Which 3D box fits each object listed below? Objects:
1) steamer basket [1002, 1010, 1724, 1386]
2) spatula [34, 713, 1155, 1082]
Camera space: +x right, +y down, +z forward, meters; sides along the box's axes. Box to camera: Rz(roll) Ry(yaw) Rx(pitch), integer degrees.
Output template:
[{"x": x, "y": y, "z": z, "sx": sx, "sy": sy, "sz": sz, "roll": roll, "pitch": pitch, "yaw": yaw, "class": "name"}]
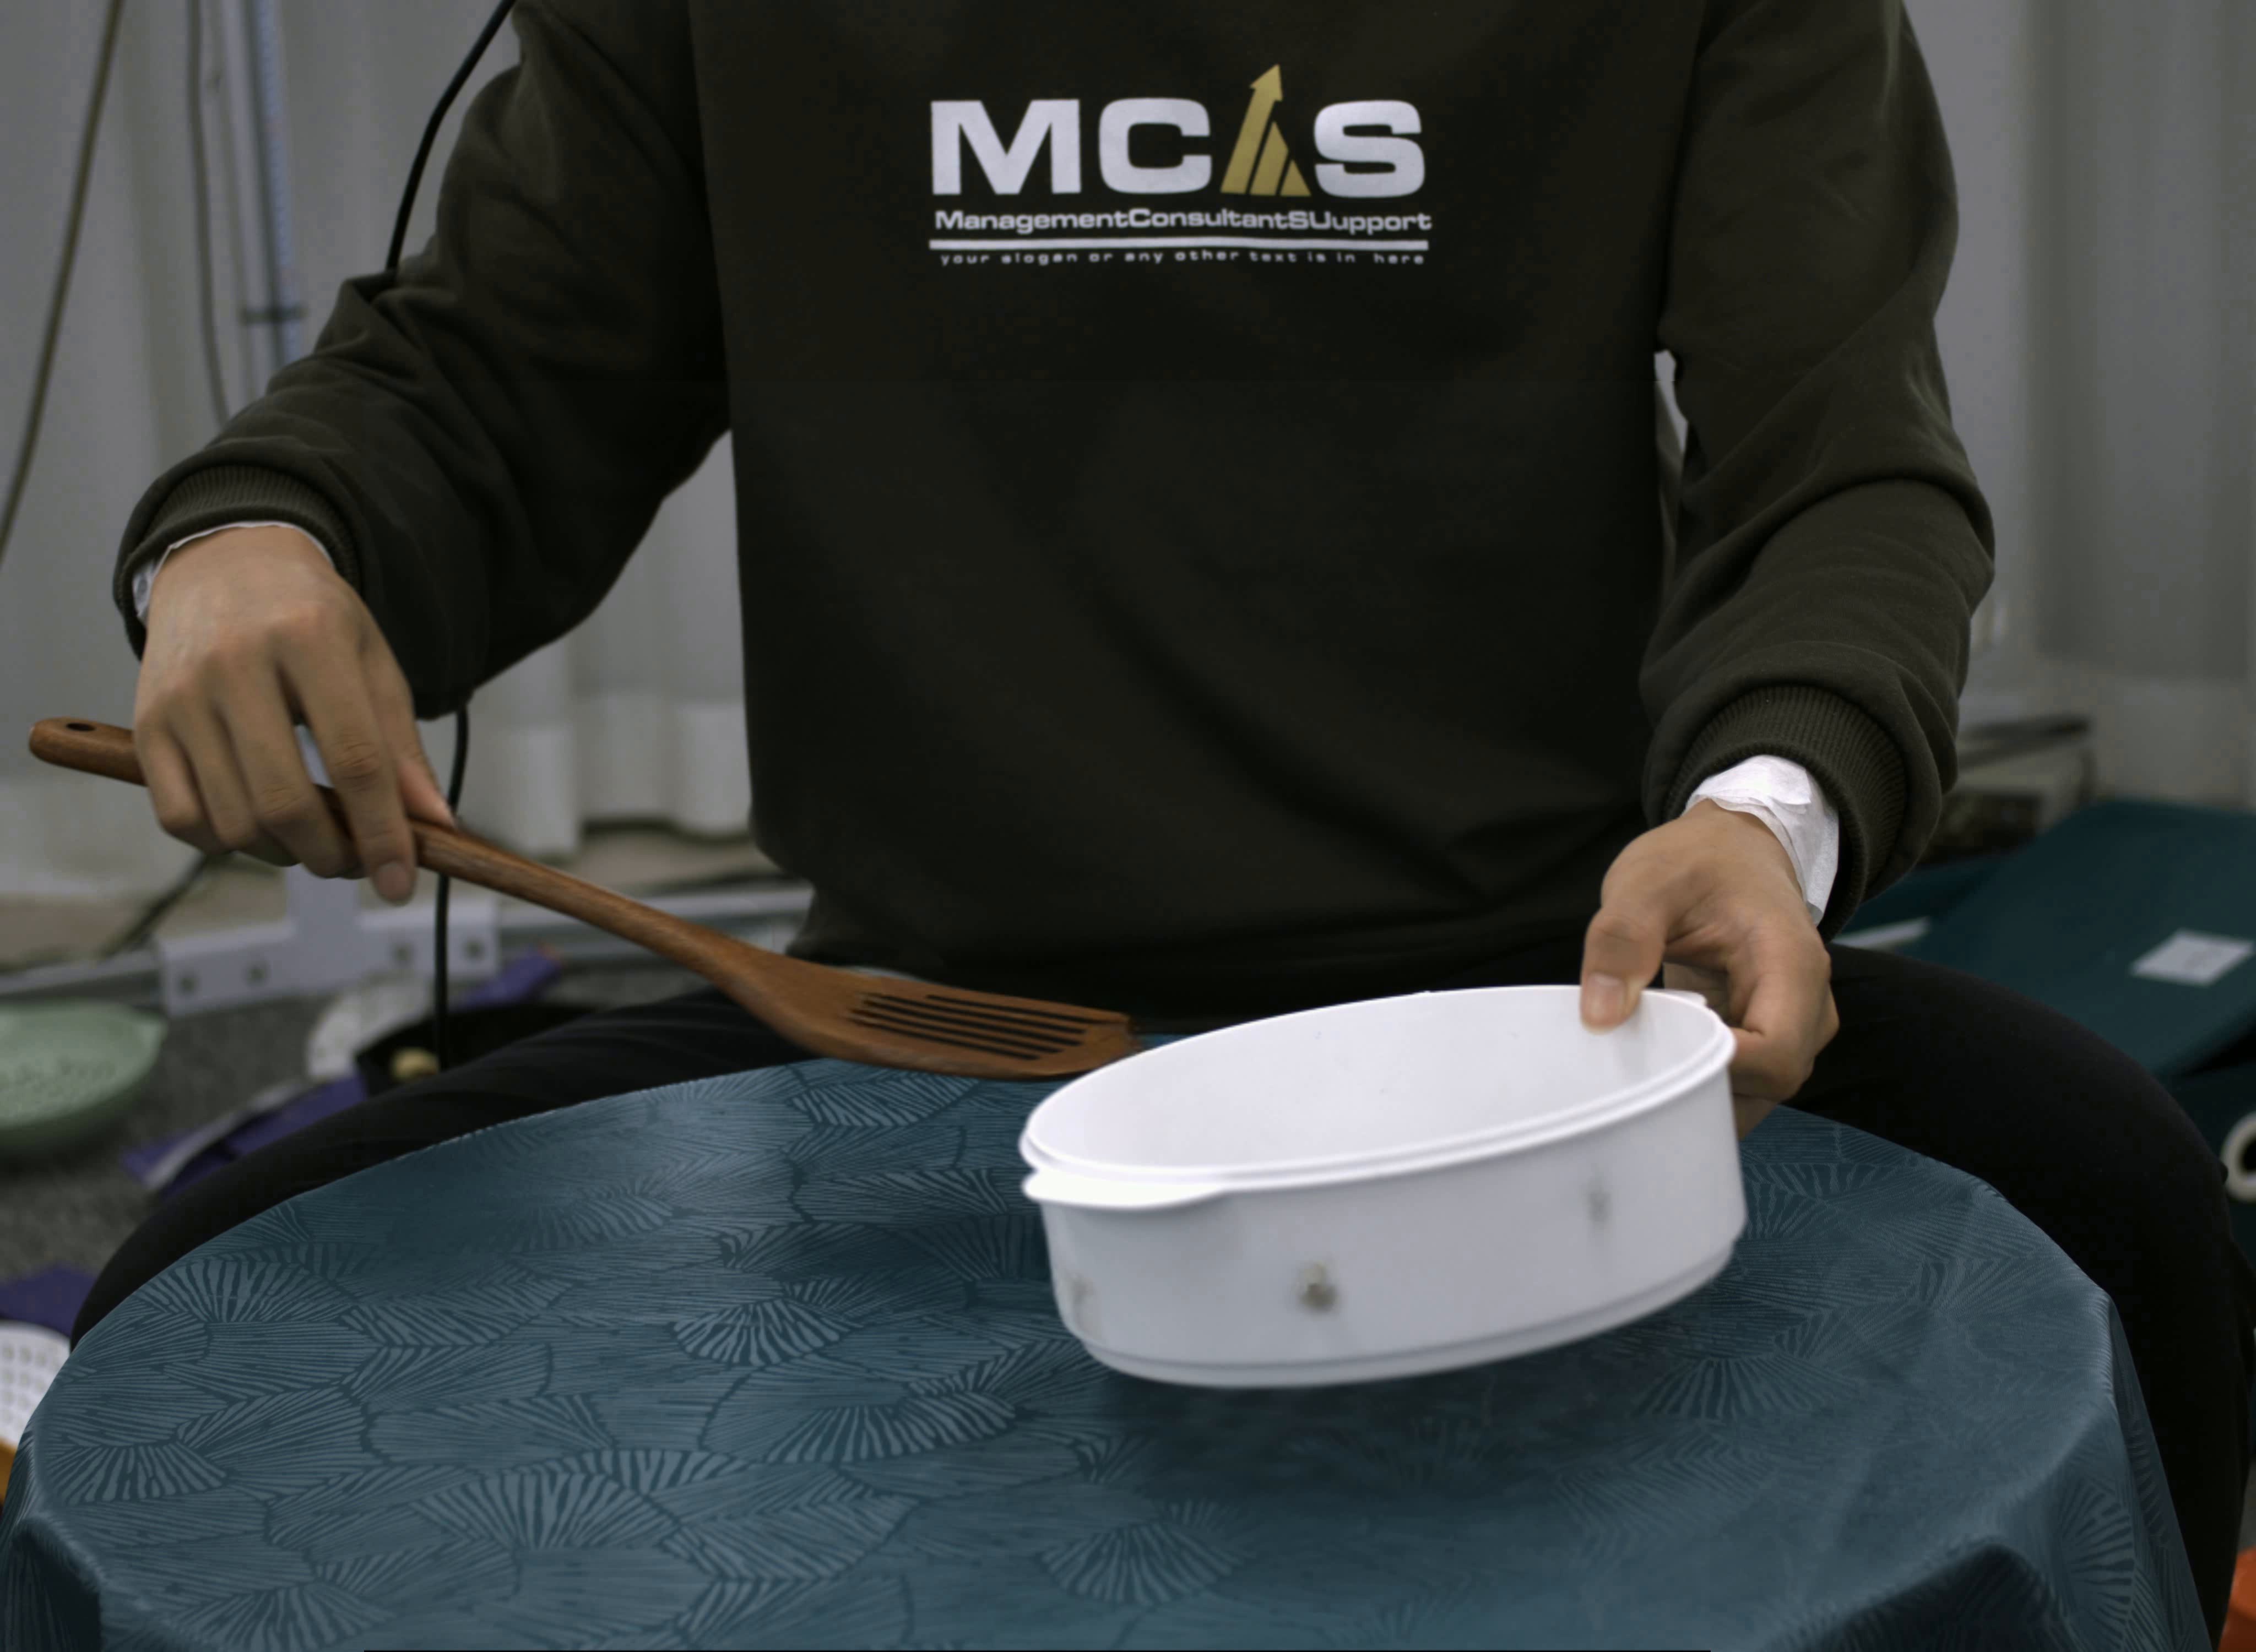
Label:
[{"x": 0.067, "y": 0.103, "z": 1.521, "sx": 0.230, "sy": 0.069, "sz": 0.202, "roll": -13, "pitch": 11, "yaw": -40, "class": "steamer basket"}, {"x": -0.176, "y": 0.024, "z": 1.716, "sx": 0.386, "sy": 0.023, "sz": 0.086, "roll": 17, "pitch": 15, "yaw": 17, "class": "spatula"}]
